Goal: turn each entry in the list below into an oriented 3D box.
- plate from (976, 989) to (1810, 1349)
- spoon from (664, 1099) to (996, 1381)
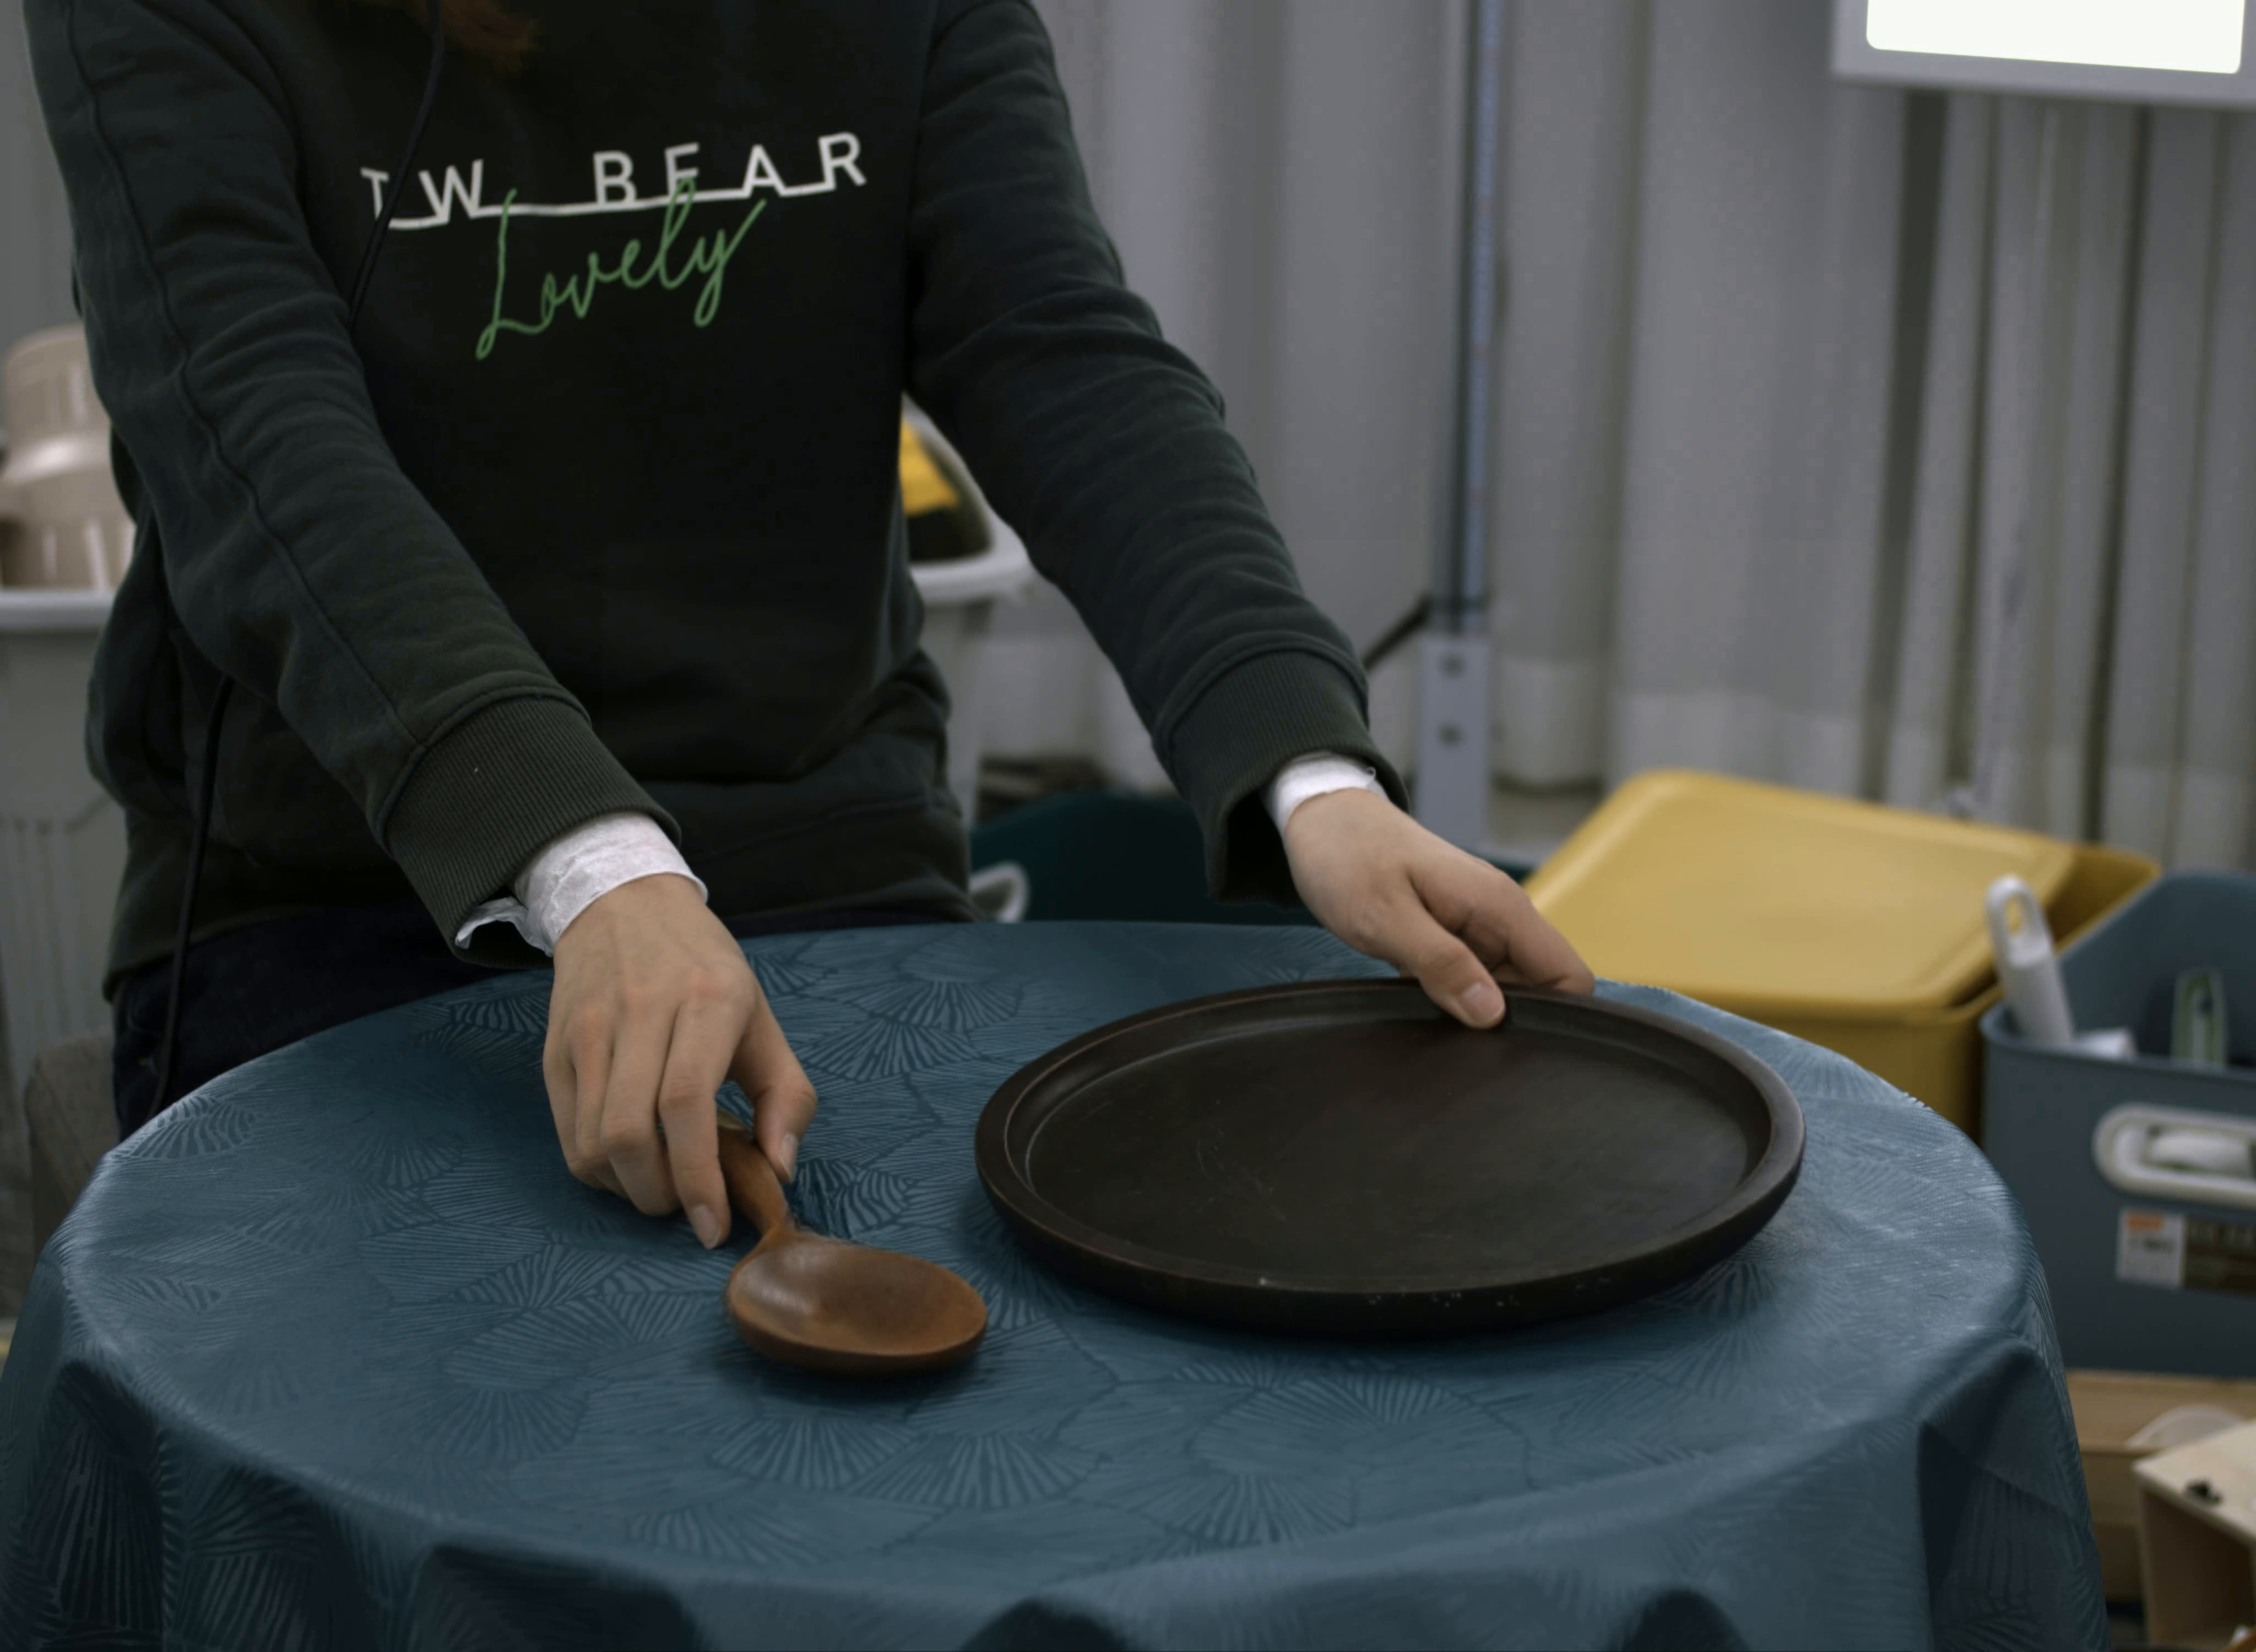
[{"bbox_3d":[0.080,0.101,1.605,0.254,0.029,0.253,0,20,1],"label":"plate"},{"bbox_3d":[-0.098,0.122,1.548,0.076,0.017,0.213,-3,18,-20],"label":"spoon"}]
